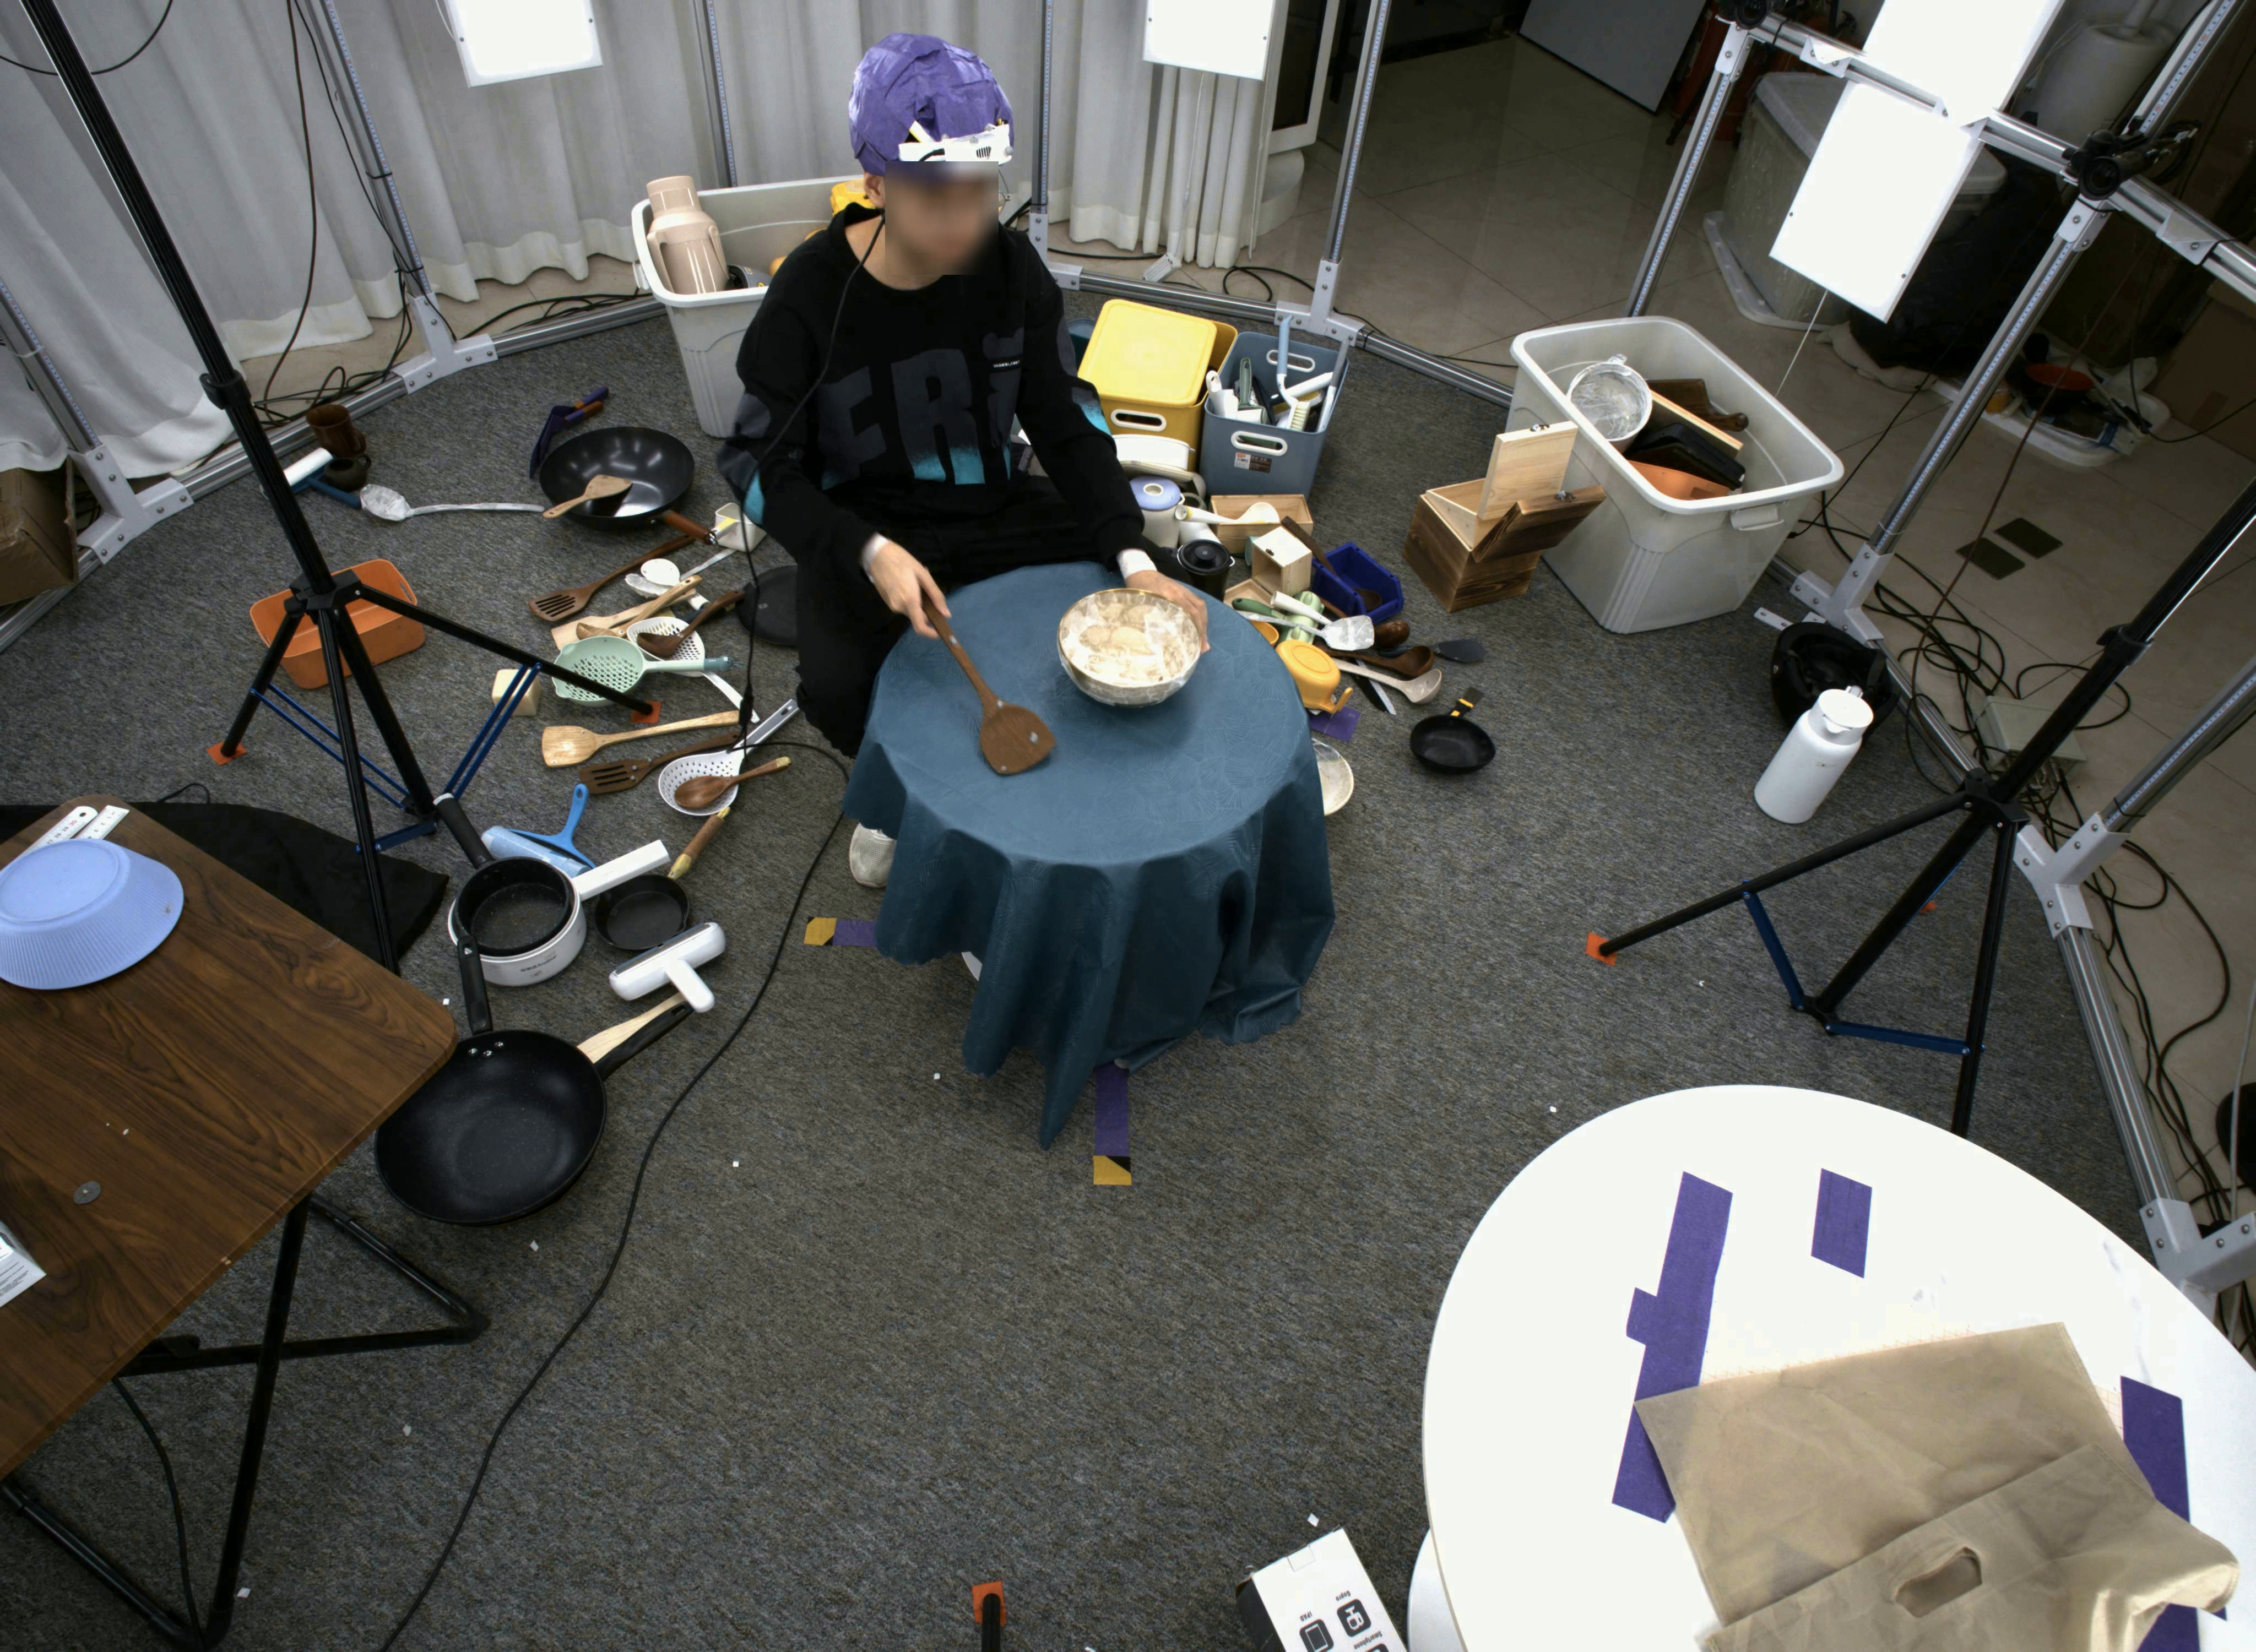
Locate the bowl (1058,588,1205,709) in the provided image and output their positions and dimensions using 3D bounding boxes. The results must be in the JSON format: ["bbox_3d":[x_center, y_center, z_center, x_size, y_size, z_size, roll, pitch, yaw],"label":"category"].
[{"bbox_3d":[0.003,-0.238,1.831,0.214,0.092,0.220,1,49,-1],"label":"bowl"}]

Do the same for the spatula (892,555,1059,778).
[{"bbox_3d":[-0.228,-0.232,1.793,0.096,0.015,0.391,-30,73,-13],"label":"spatula"}]
